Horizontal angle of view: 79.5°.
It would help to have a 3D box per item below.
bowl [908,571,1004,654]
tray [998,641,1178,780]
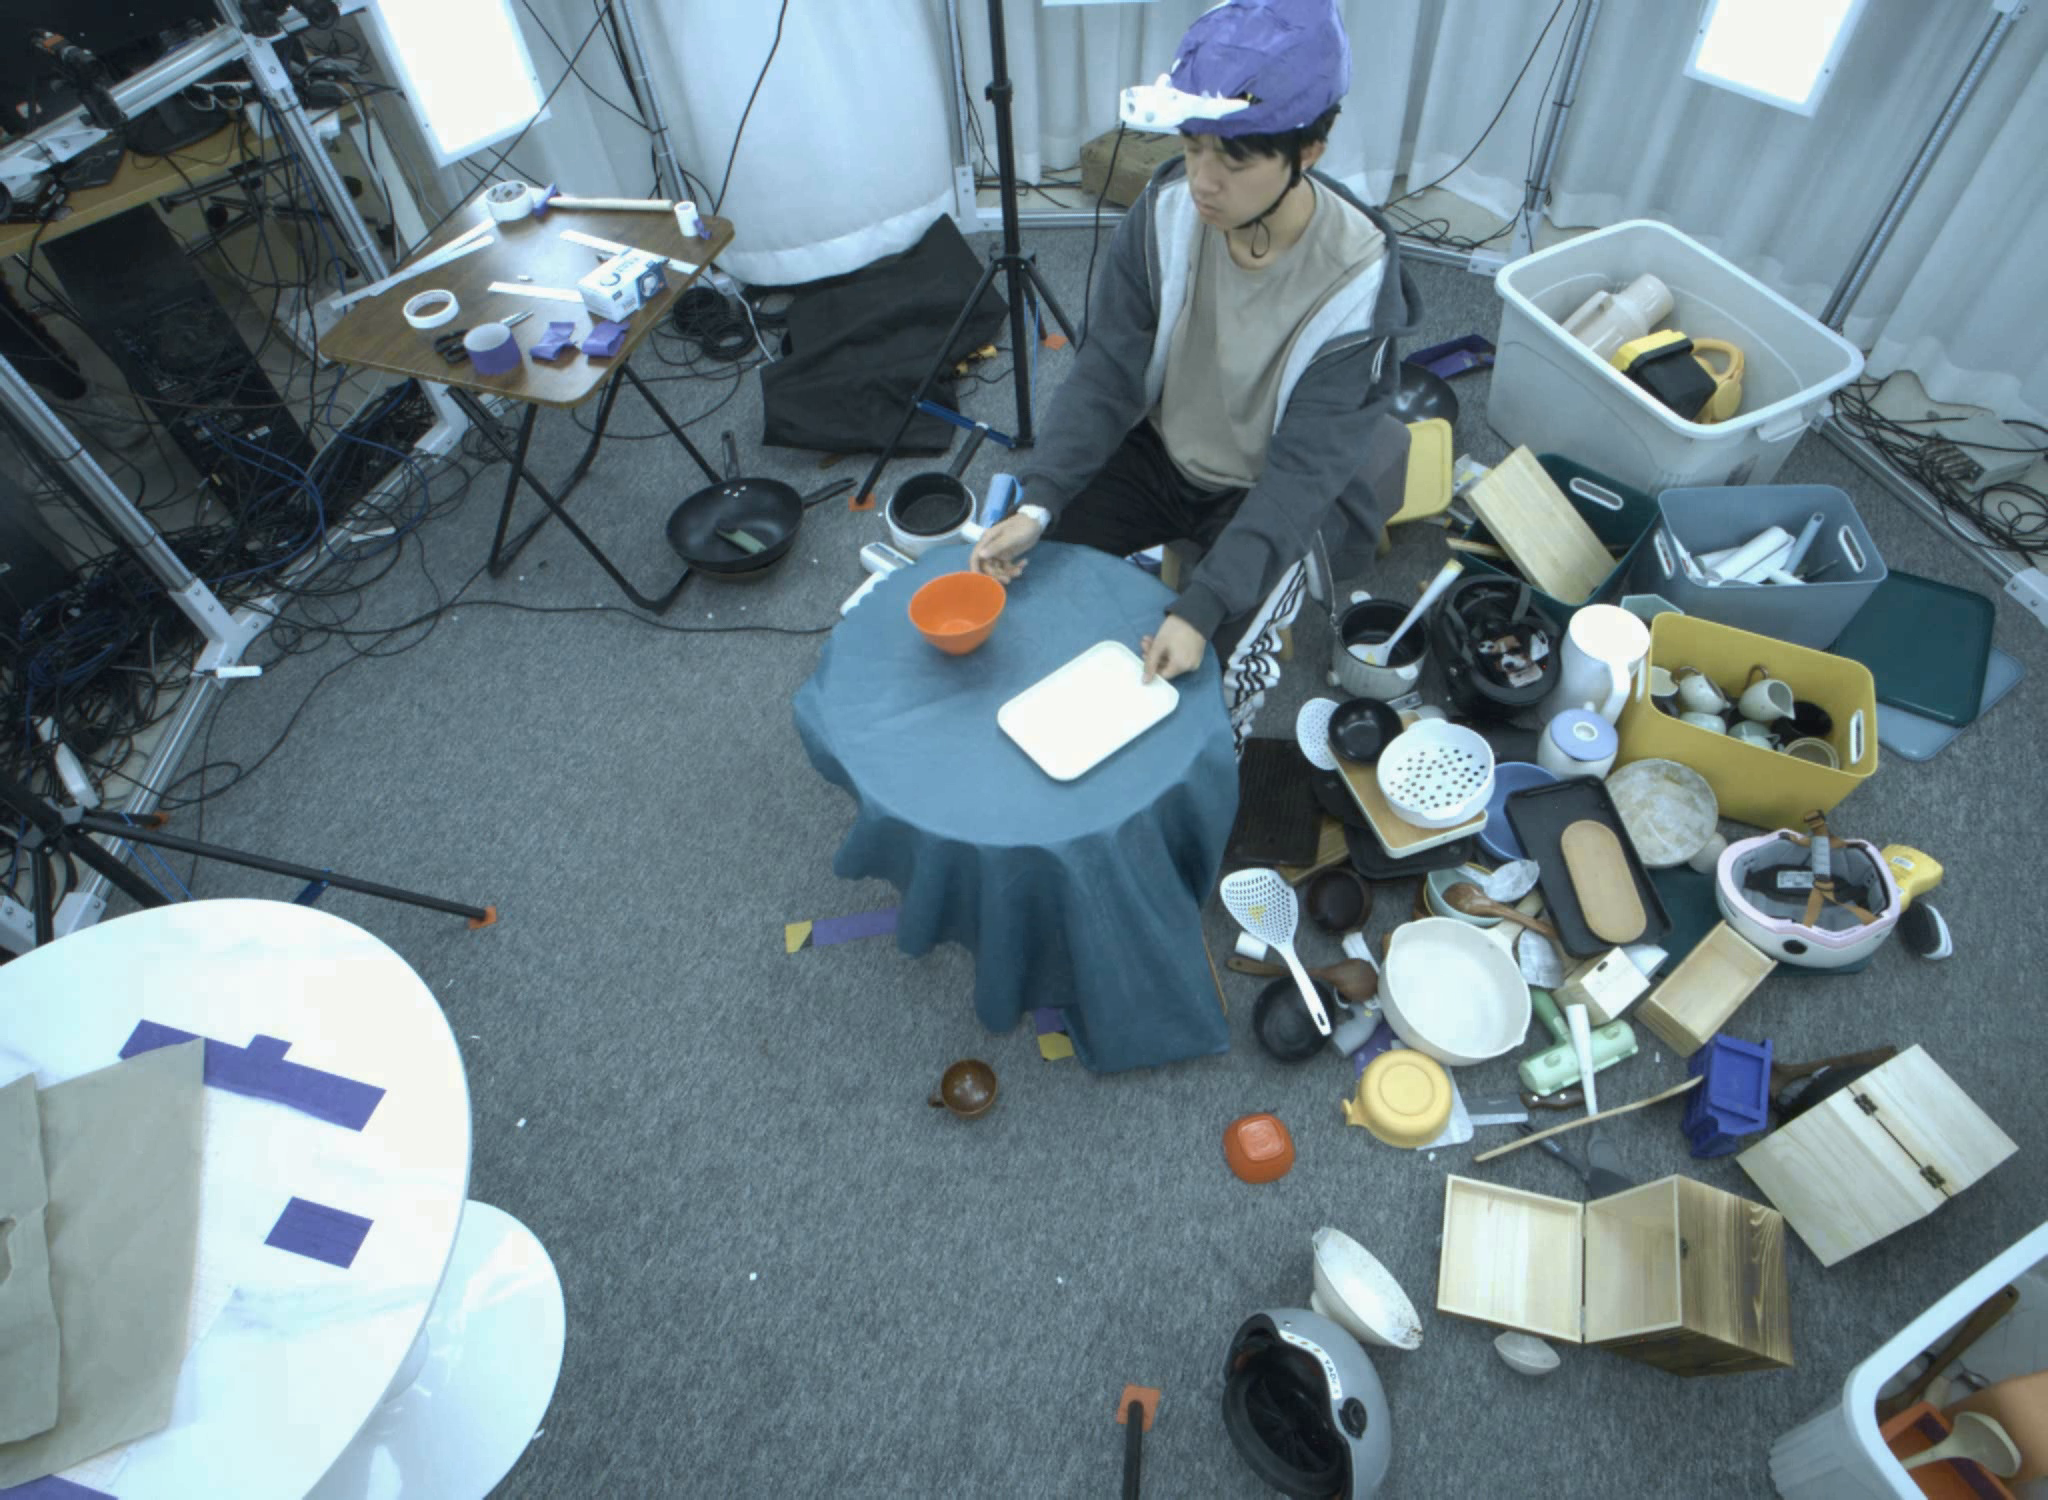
[{"bbox_3d":[-0.100,-0.196,1.870,0.148,0.106,0.146,-1,55,3],"label":"bowl"},{"bbox_3d":[0.095,-0.060,1.819,0.241,0.017,0.168,-34,60,-20],"label":"tray"}]
